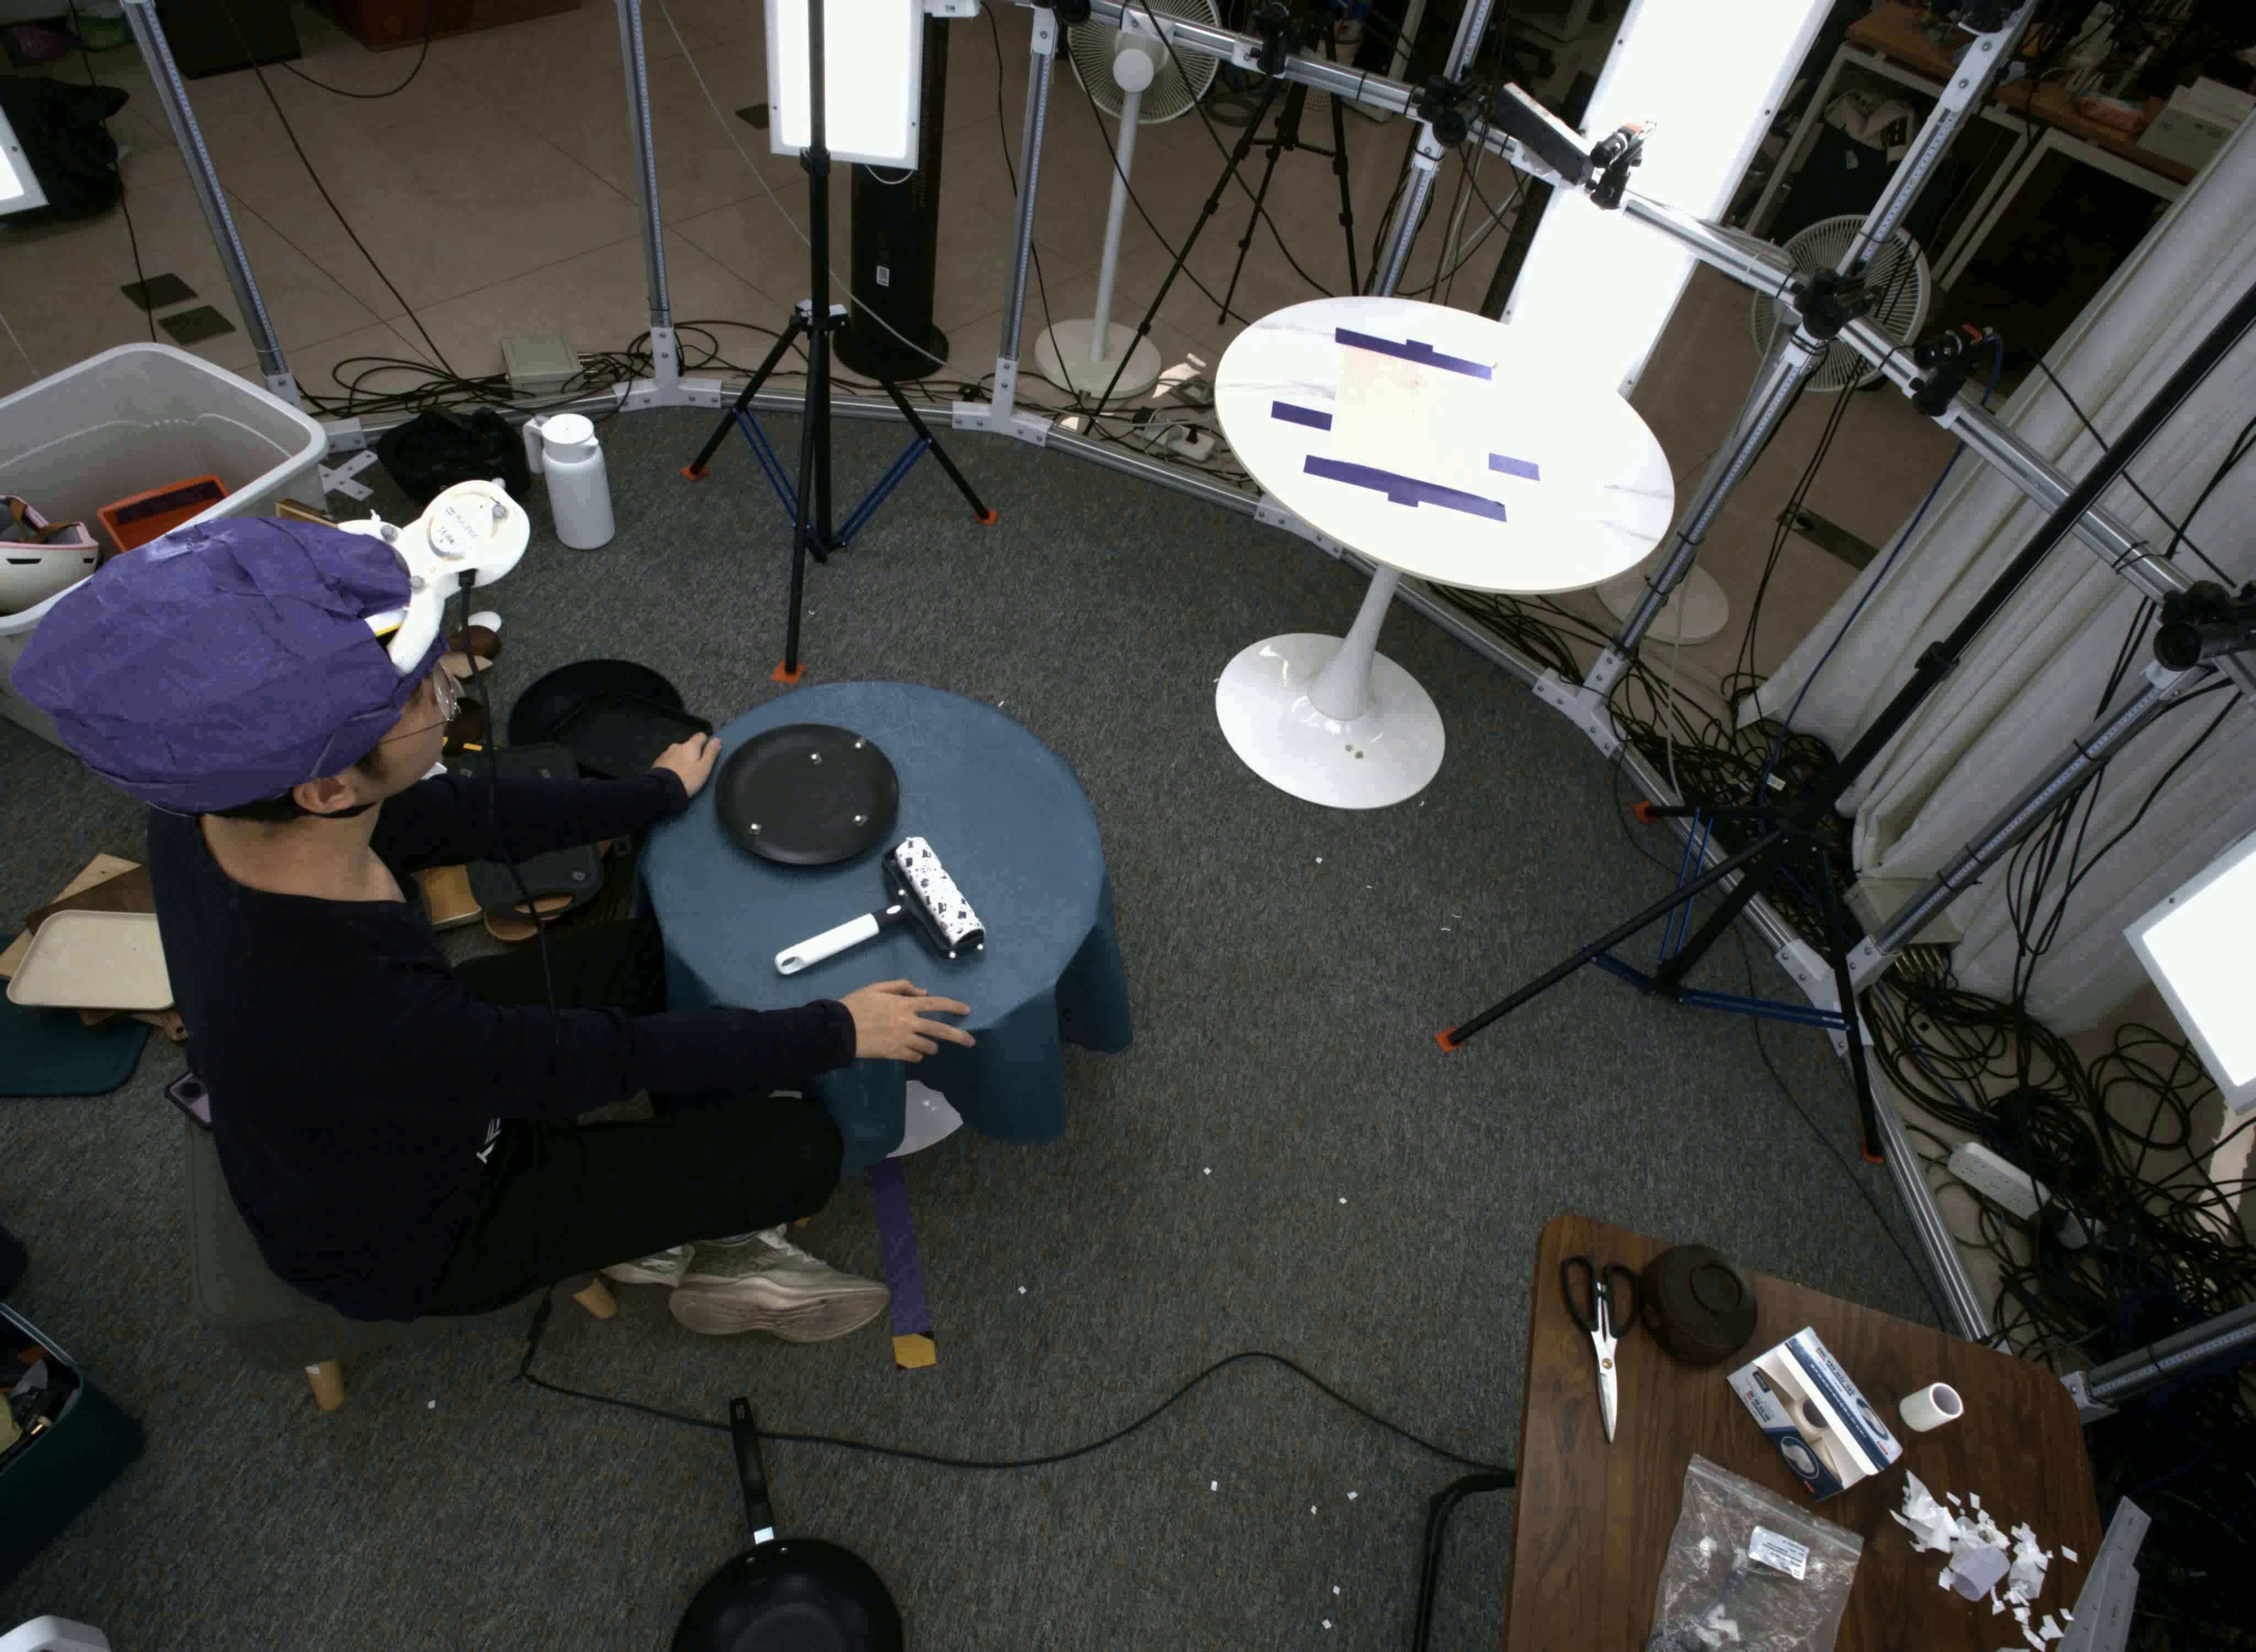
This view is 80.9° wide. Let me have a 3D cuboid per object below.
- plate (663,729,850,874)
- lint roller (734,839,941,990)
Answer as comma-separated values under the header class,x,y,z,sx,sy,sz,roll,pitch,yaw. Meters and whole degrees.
class,x,y,z,sx,sy,sz,roll,pitch,yaw
plate,-0.494,-0.032,1.726,0.244,0.024,0.240,8,53,-9
lint roller,-0.378,0.131,1.623,0.248,0.051,0.172,-29,66,-27
